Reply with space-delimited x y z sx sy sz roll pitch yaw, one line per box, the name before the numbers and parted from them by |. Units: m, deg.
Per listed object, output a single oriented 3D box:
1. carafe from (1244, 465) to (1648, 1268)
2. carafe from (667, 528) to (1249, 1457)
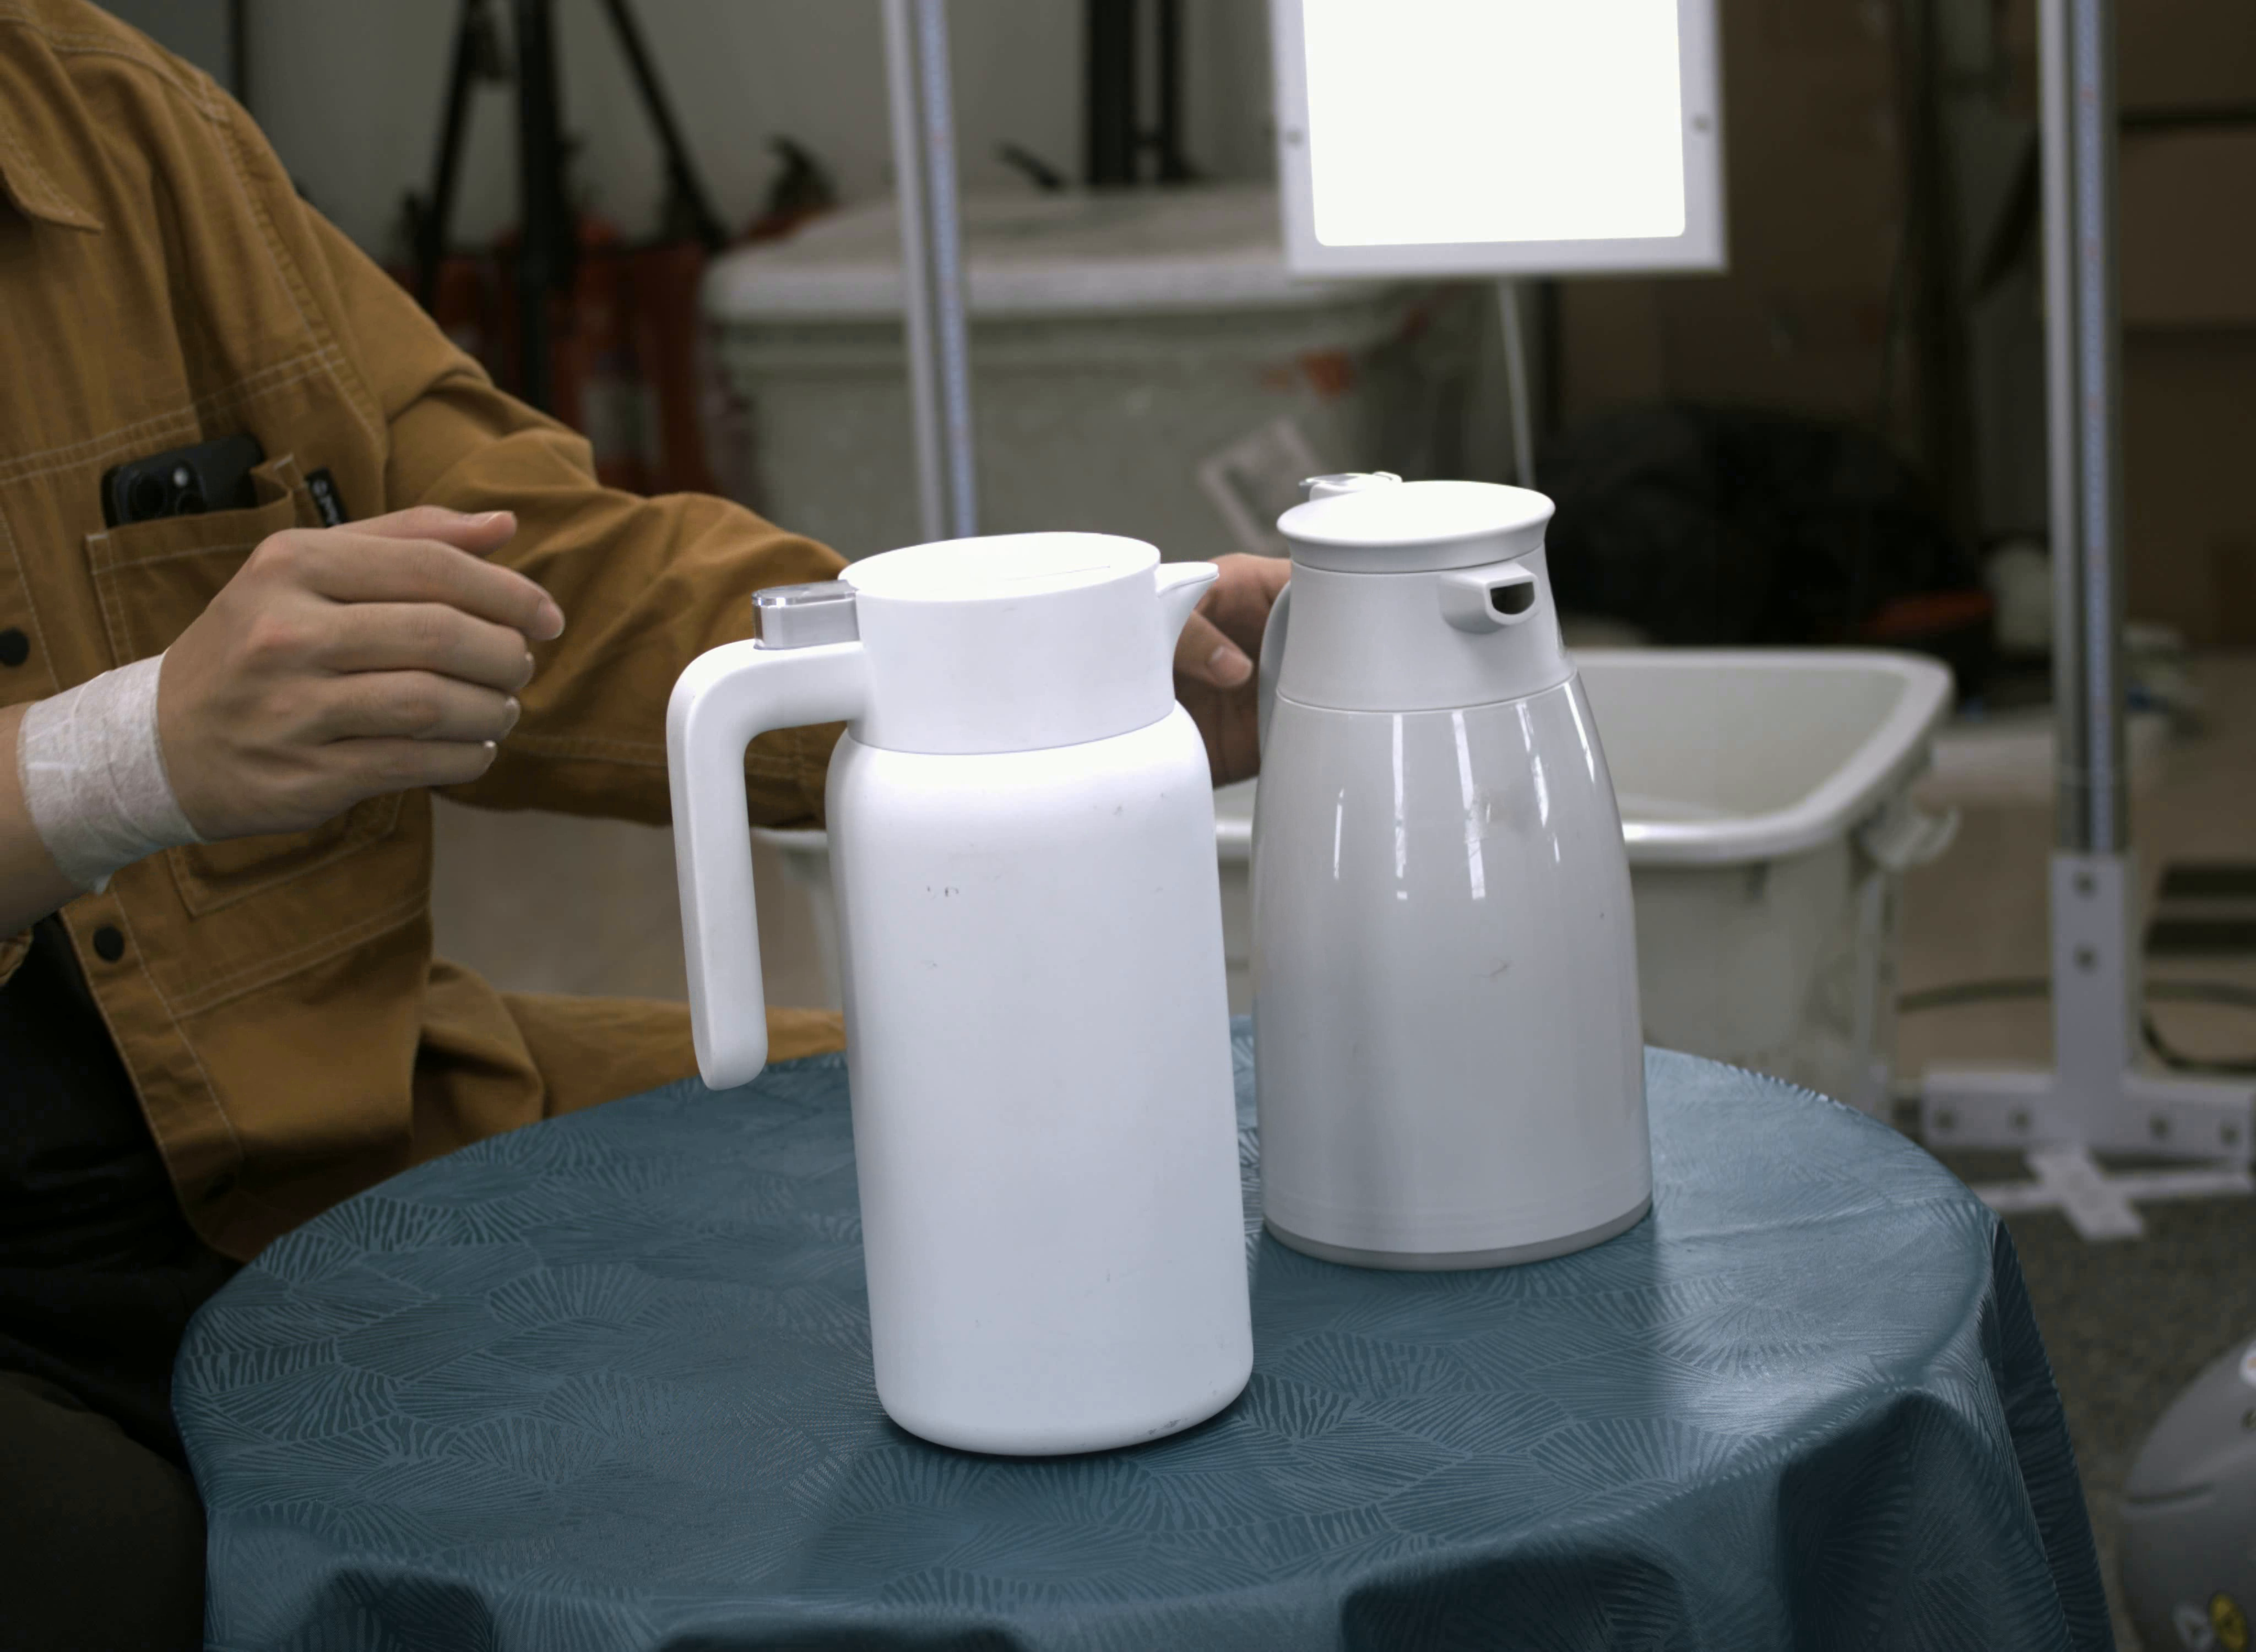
carafe | 0.092 0.005 1.834 0.130 0.249 0.170 -11 14 -25
carafe | -0.045 0.051 1.661 0.170 0.270 0.125 -8 16 -14
